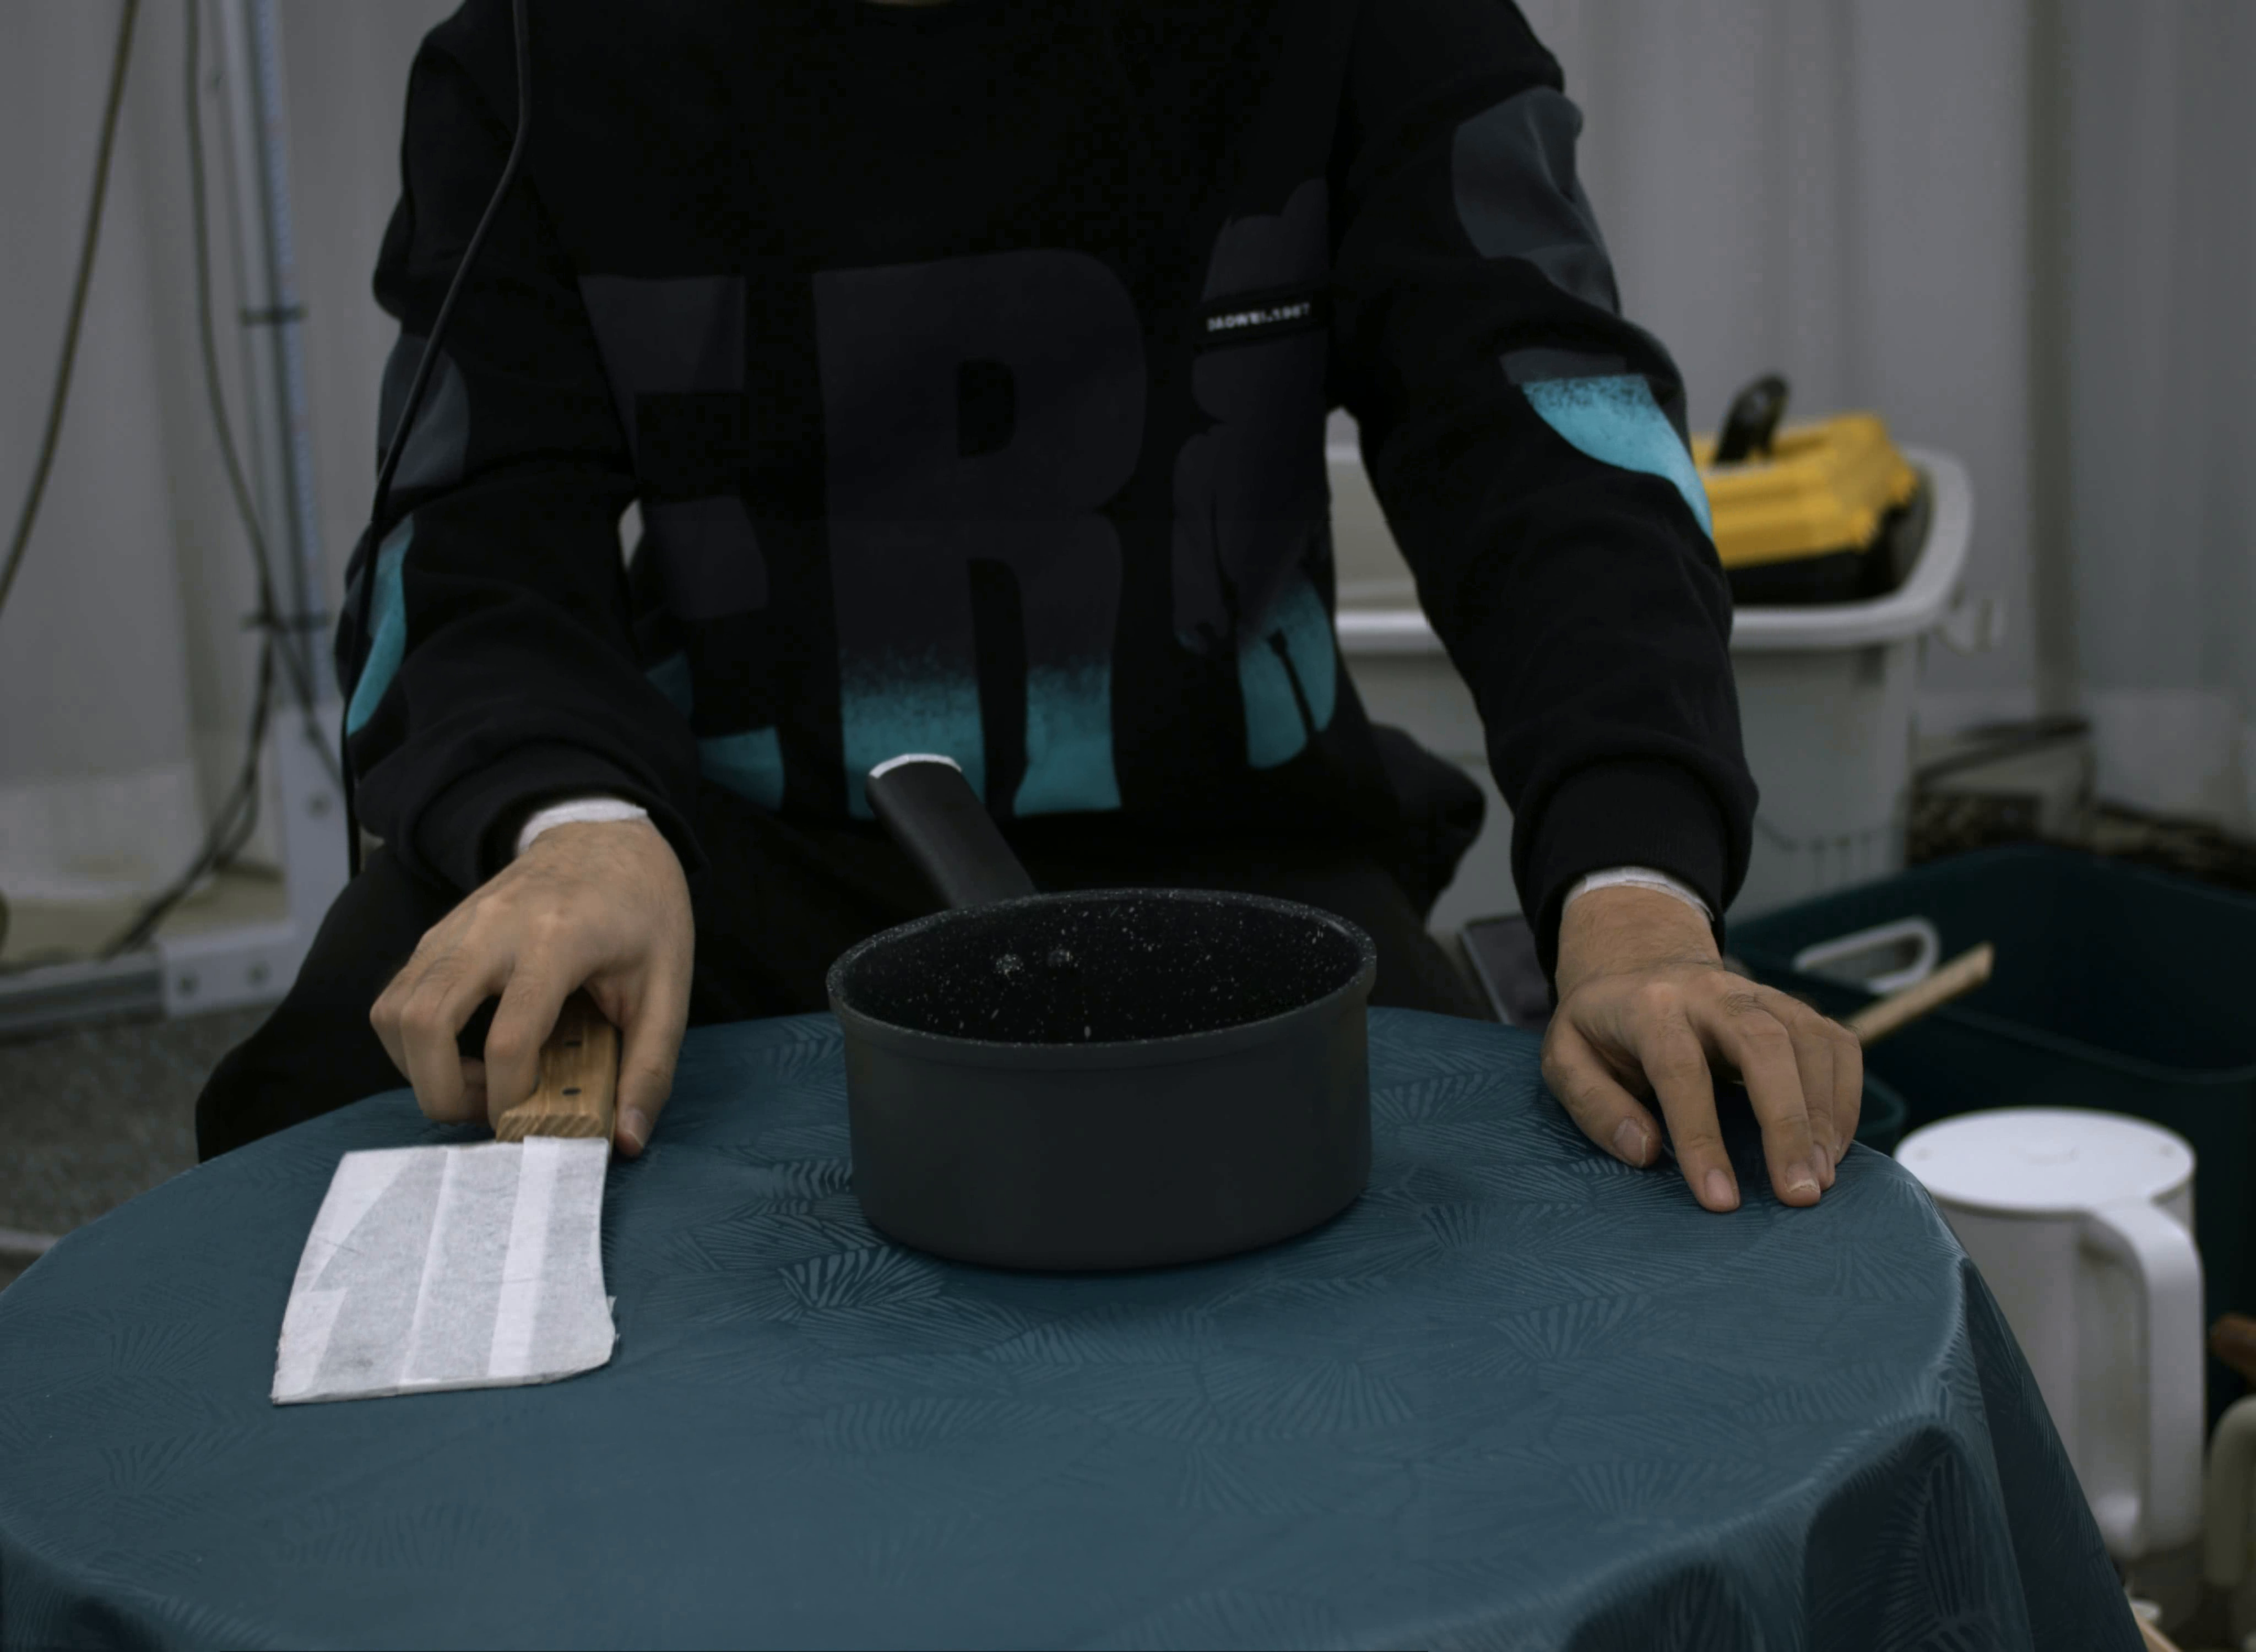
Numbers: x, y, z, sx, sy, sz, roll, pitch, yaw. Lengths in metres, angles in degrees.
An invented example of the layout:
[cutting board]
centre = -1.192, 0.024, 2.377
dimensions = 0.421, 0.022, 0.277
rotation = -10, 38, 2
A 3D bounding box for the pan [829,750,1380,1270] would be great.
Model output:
[pan]
centre = -0.025, 0.056, 1.778
dimensions = 0.171, 0.086, 0.331
rotation = -4, 16, -13

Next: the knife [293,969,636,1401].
[knife]
centre = -0.197, 0.111, 1.715
dimensions = 0.113, 0.021, 0.318
rotation = -2, 20, 2
